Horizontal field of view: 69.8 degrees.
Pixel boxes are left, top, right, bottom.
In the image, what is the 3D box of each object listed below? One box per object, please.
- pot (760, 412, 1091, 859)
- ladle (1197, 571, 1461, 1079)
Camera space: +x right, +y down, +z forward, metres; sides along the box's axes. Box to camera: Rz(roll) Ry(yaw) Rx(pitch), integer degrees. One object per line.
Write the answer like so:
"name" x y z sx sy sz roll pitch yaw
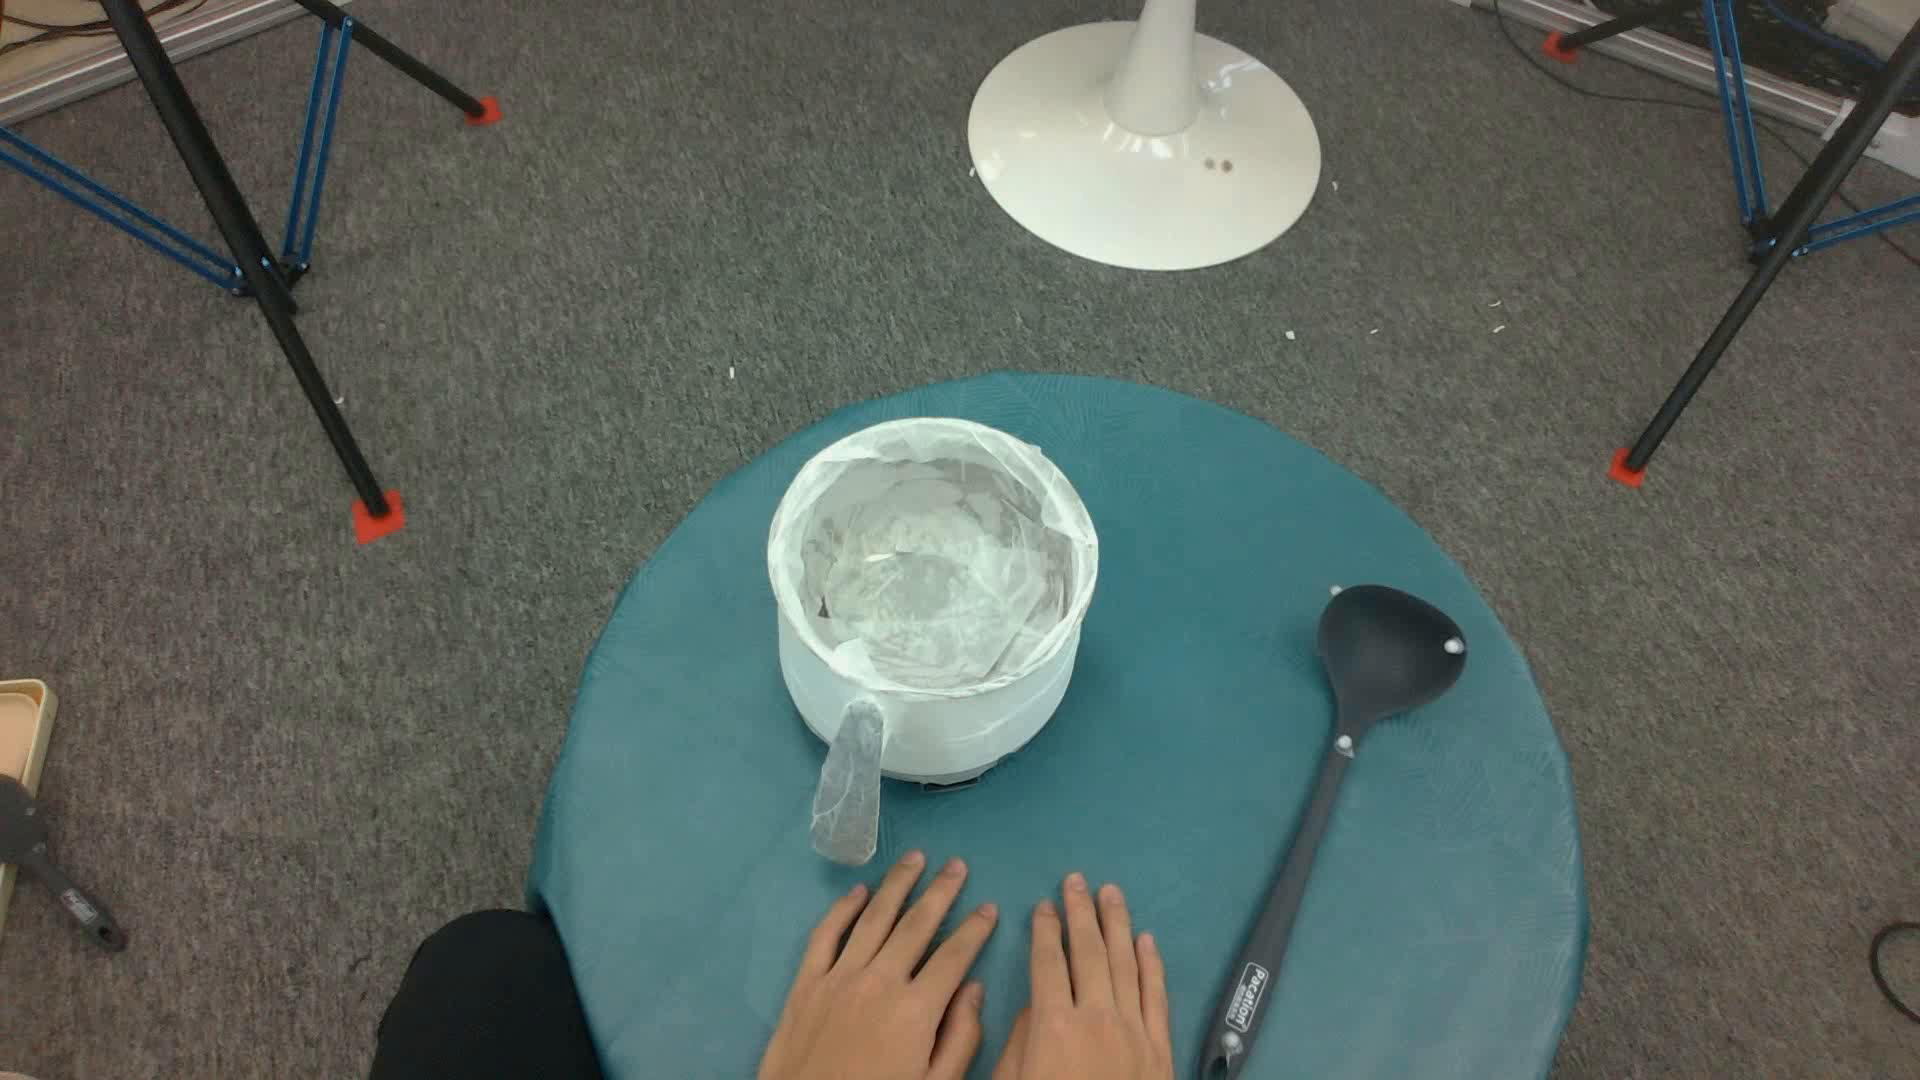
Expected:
"pot" -0.030 0.058 0.773 0.178 0.136 0.235 17 58 7
"ladle" 0.199 0.153 0.772 0.086 0.063 0.315 22 59 16
